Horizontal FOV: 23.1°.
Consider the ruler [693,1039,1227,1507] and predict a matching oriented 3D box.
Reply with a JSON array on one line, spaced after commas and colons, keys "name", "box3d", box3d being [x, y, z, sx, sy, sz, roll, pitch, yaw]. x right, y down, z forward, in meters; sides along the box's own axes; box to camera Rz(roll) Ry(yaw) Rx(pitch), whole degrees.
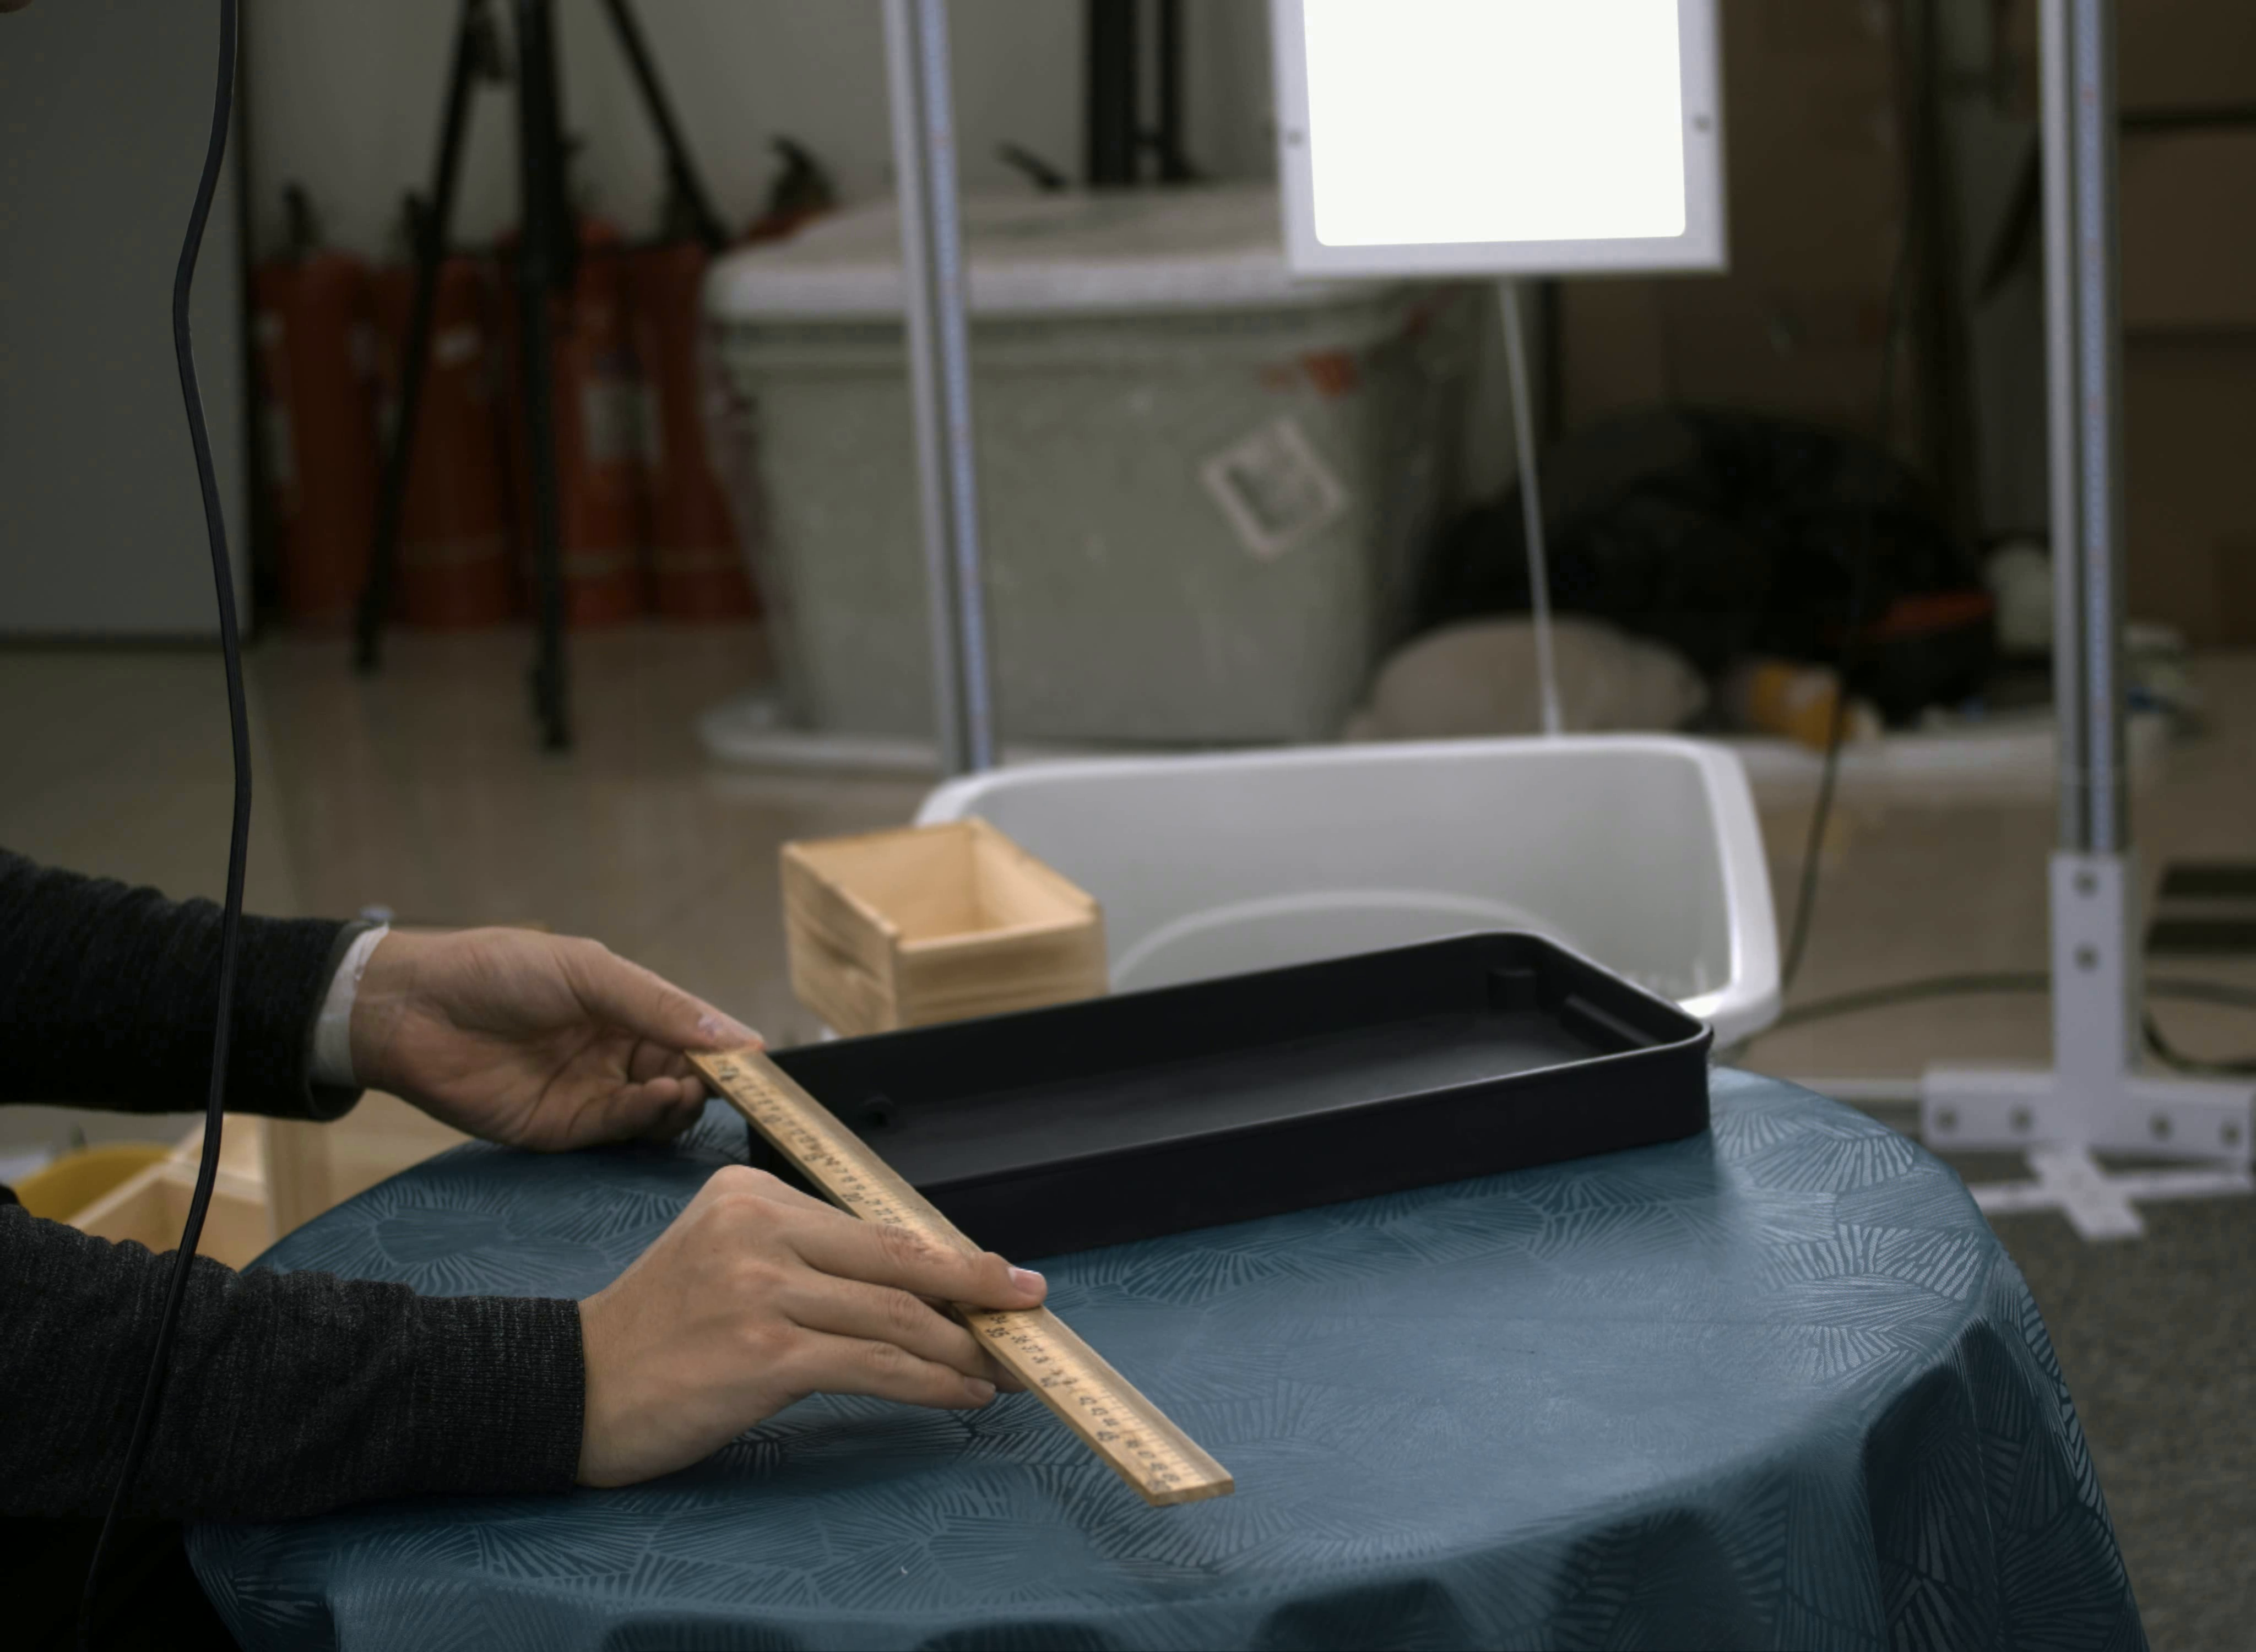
[{"name": "ruler", "box3d": [-0.065, 0.132, 1.750, 0.026, 0.006, 0.506, -12, 16, -16]}]

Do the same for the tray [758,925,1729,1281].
[{"name": "tray", "box3d": [0.038, 0.094, 1.943, 0.313, 0.037, 0.186, -10, 14, -17]}]
